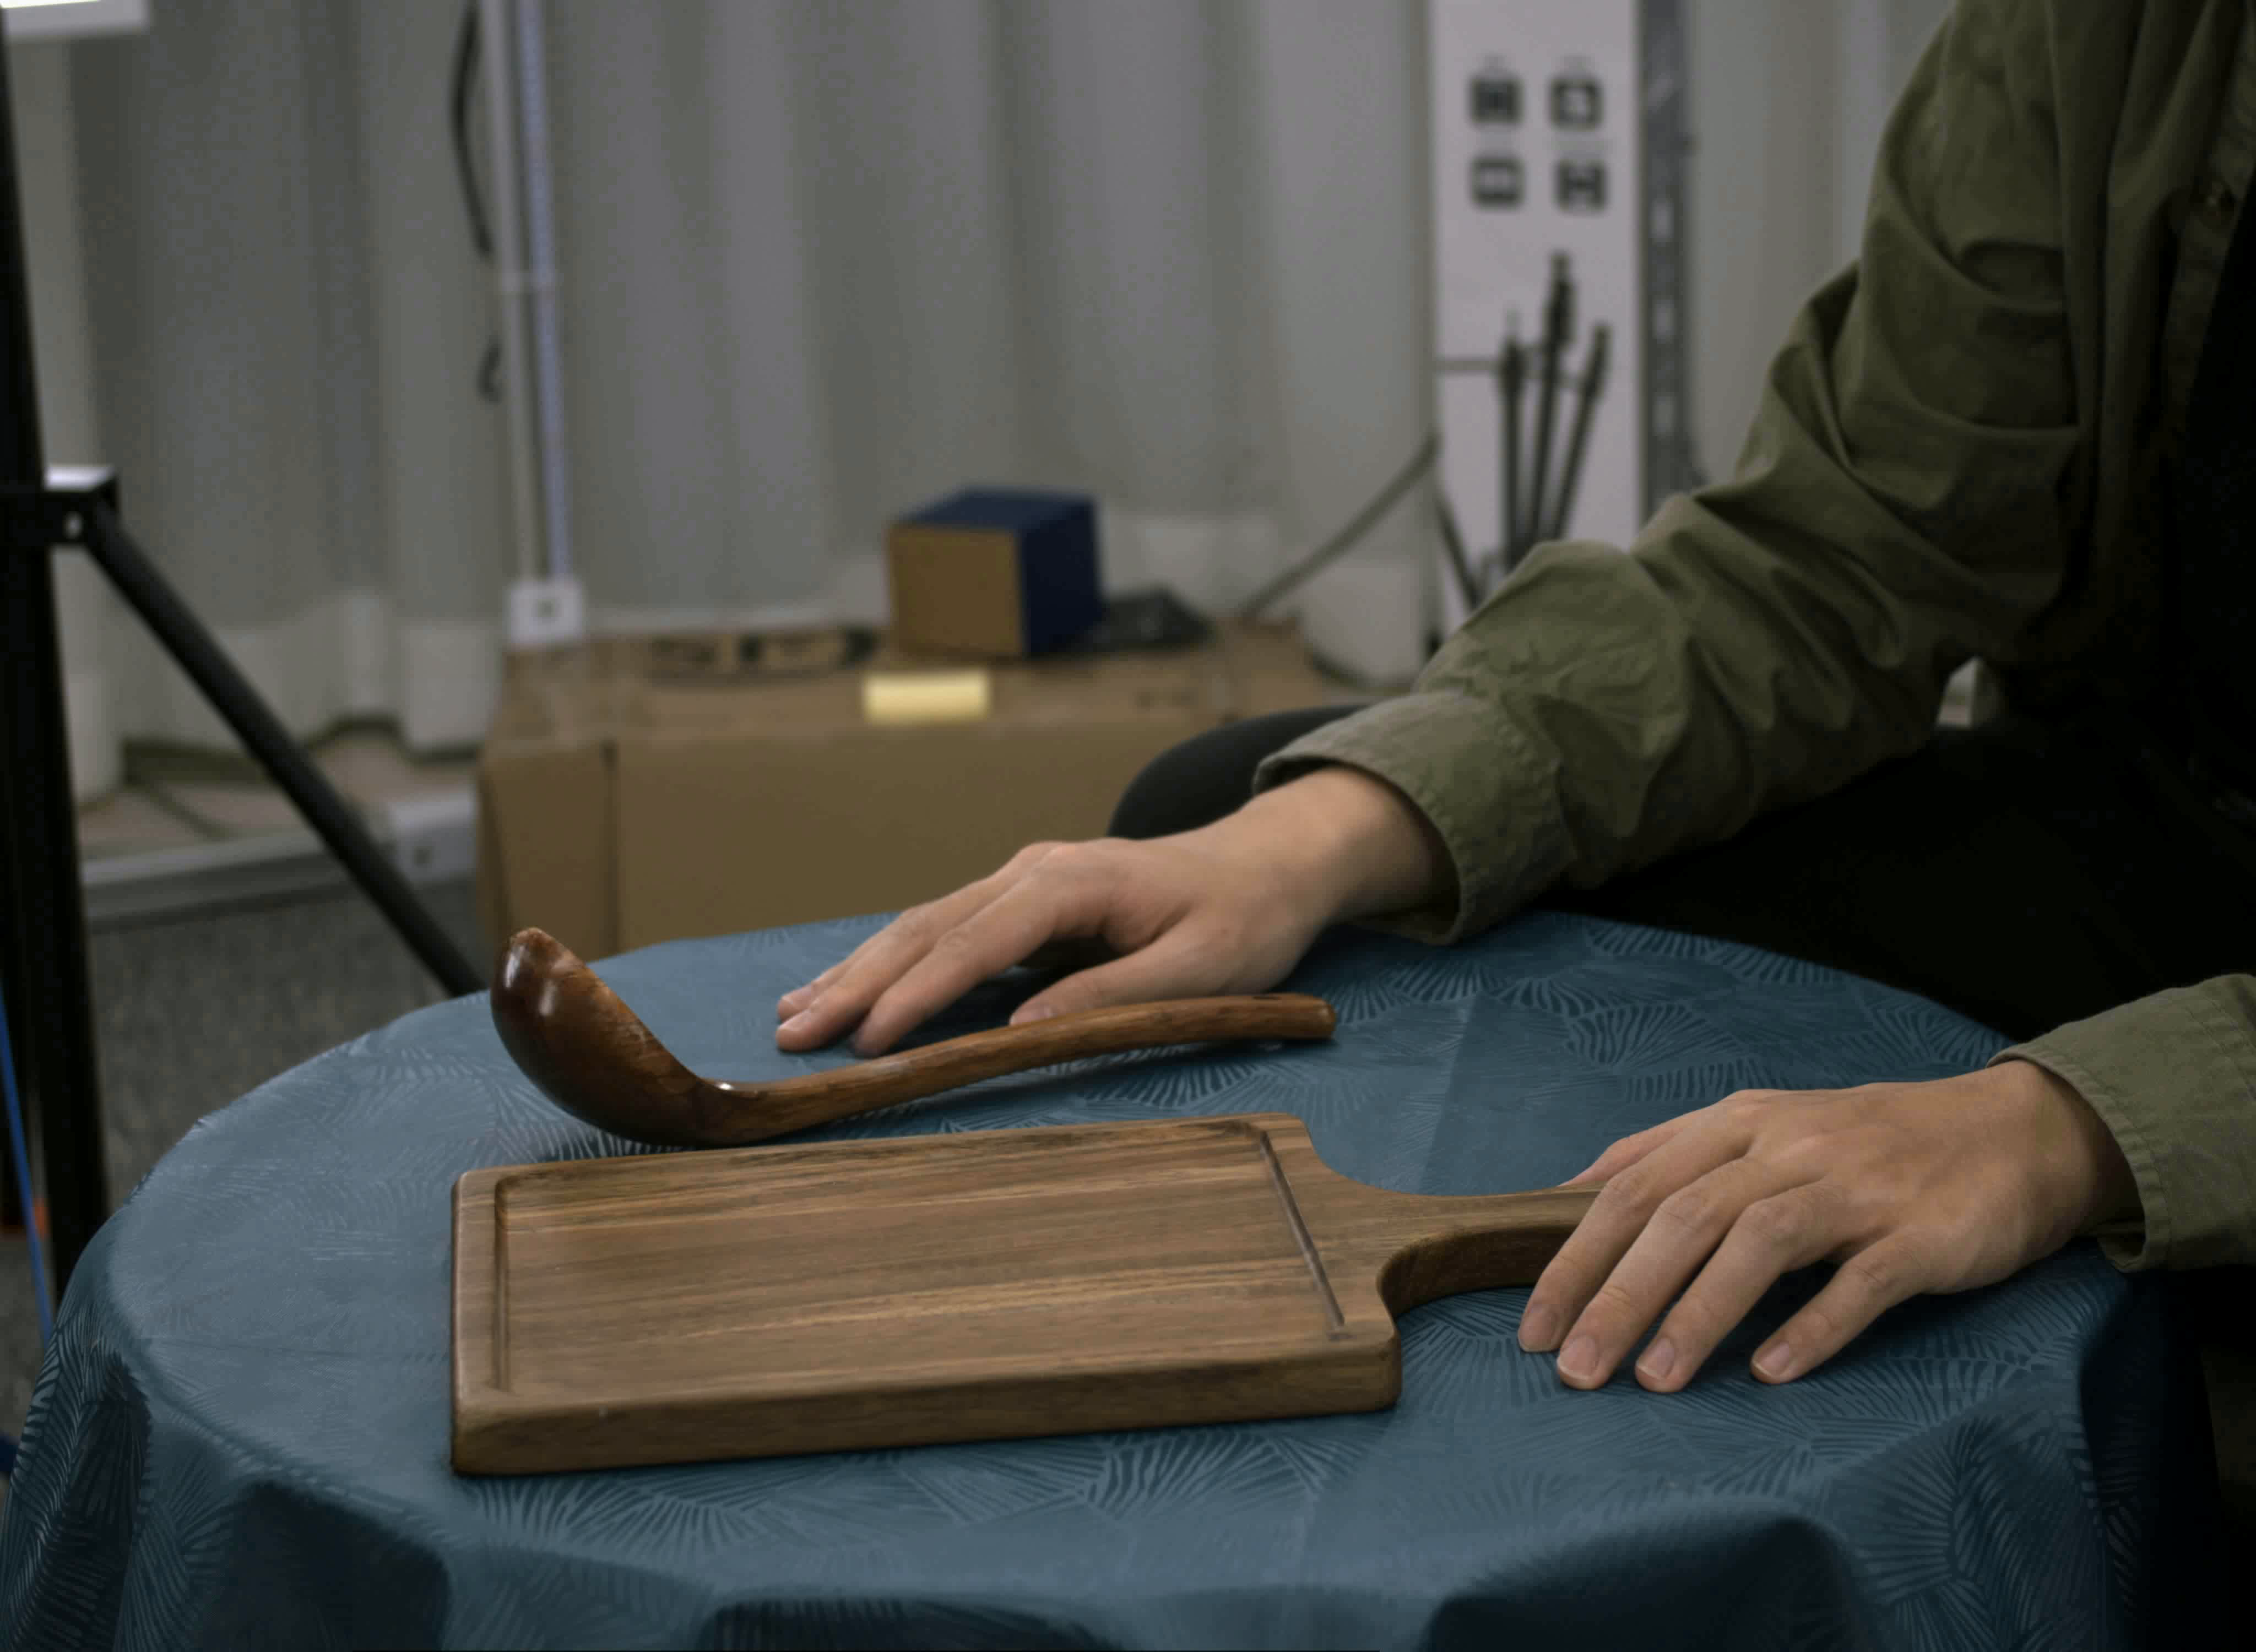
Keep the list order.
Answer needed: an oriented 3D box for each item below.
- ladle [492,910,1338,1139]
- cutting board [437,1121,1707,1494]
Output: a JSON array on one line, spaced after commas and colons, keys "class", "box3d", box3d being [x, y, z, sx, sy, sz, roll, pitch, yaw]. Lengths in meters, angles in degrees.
[{"class": "ladle", "box3d": [-0.063, 0.047, 1.647, 0.269, 0.077, 0.083, -8, 12, -21]}, {"class": "cutting board", "box3d": [-0.013, 0.127, 1.461, 0.350, 0.023, 0.202, -3, 16, -3]}]
